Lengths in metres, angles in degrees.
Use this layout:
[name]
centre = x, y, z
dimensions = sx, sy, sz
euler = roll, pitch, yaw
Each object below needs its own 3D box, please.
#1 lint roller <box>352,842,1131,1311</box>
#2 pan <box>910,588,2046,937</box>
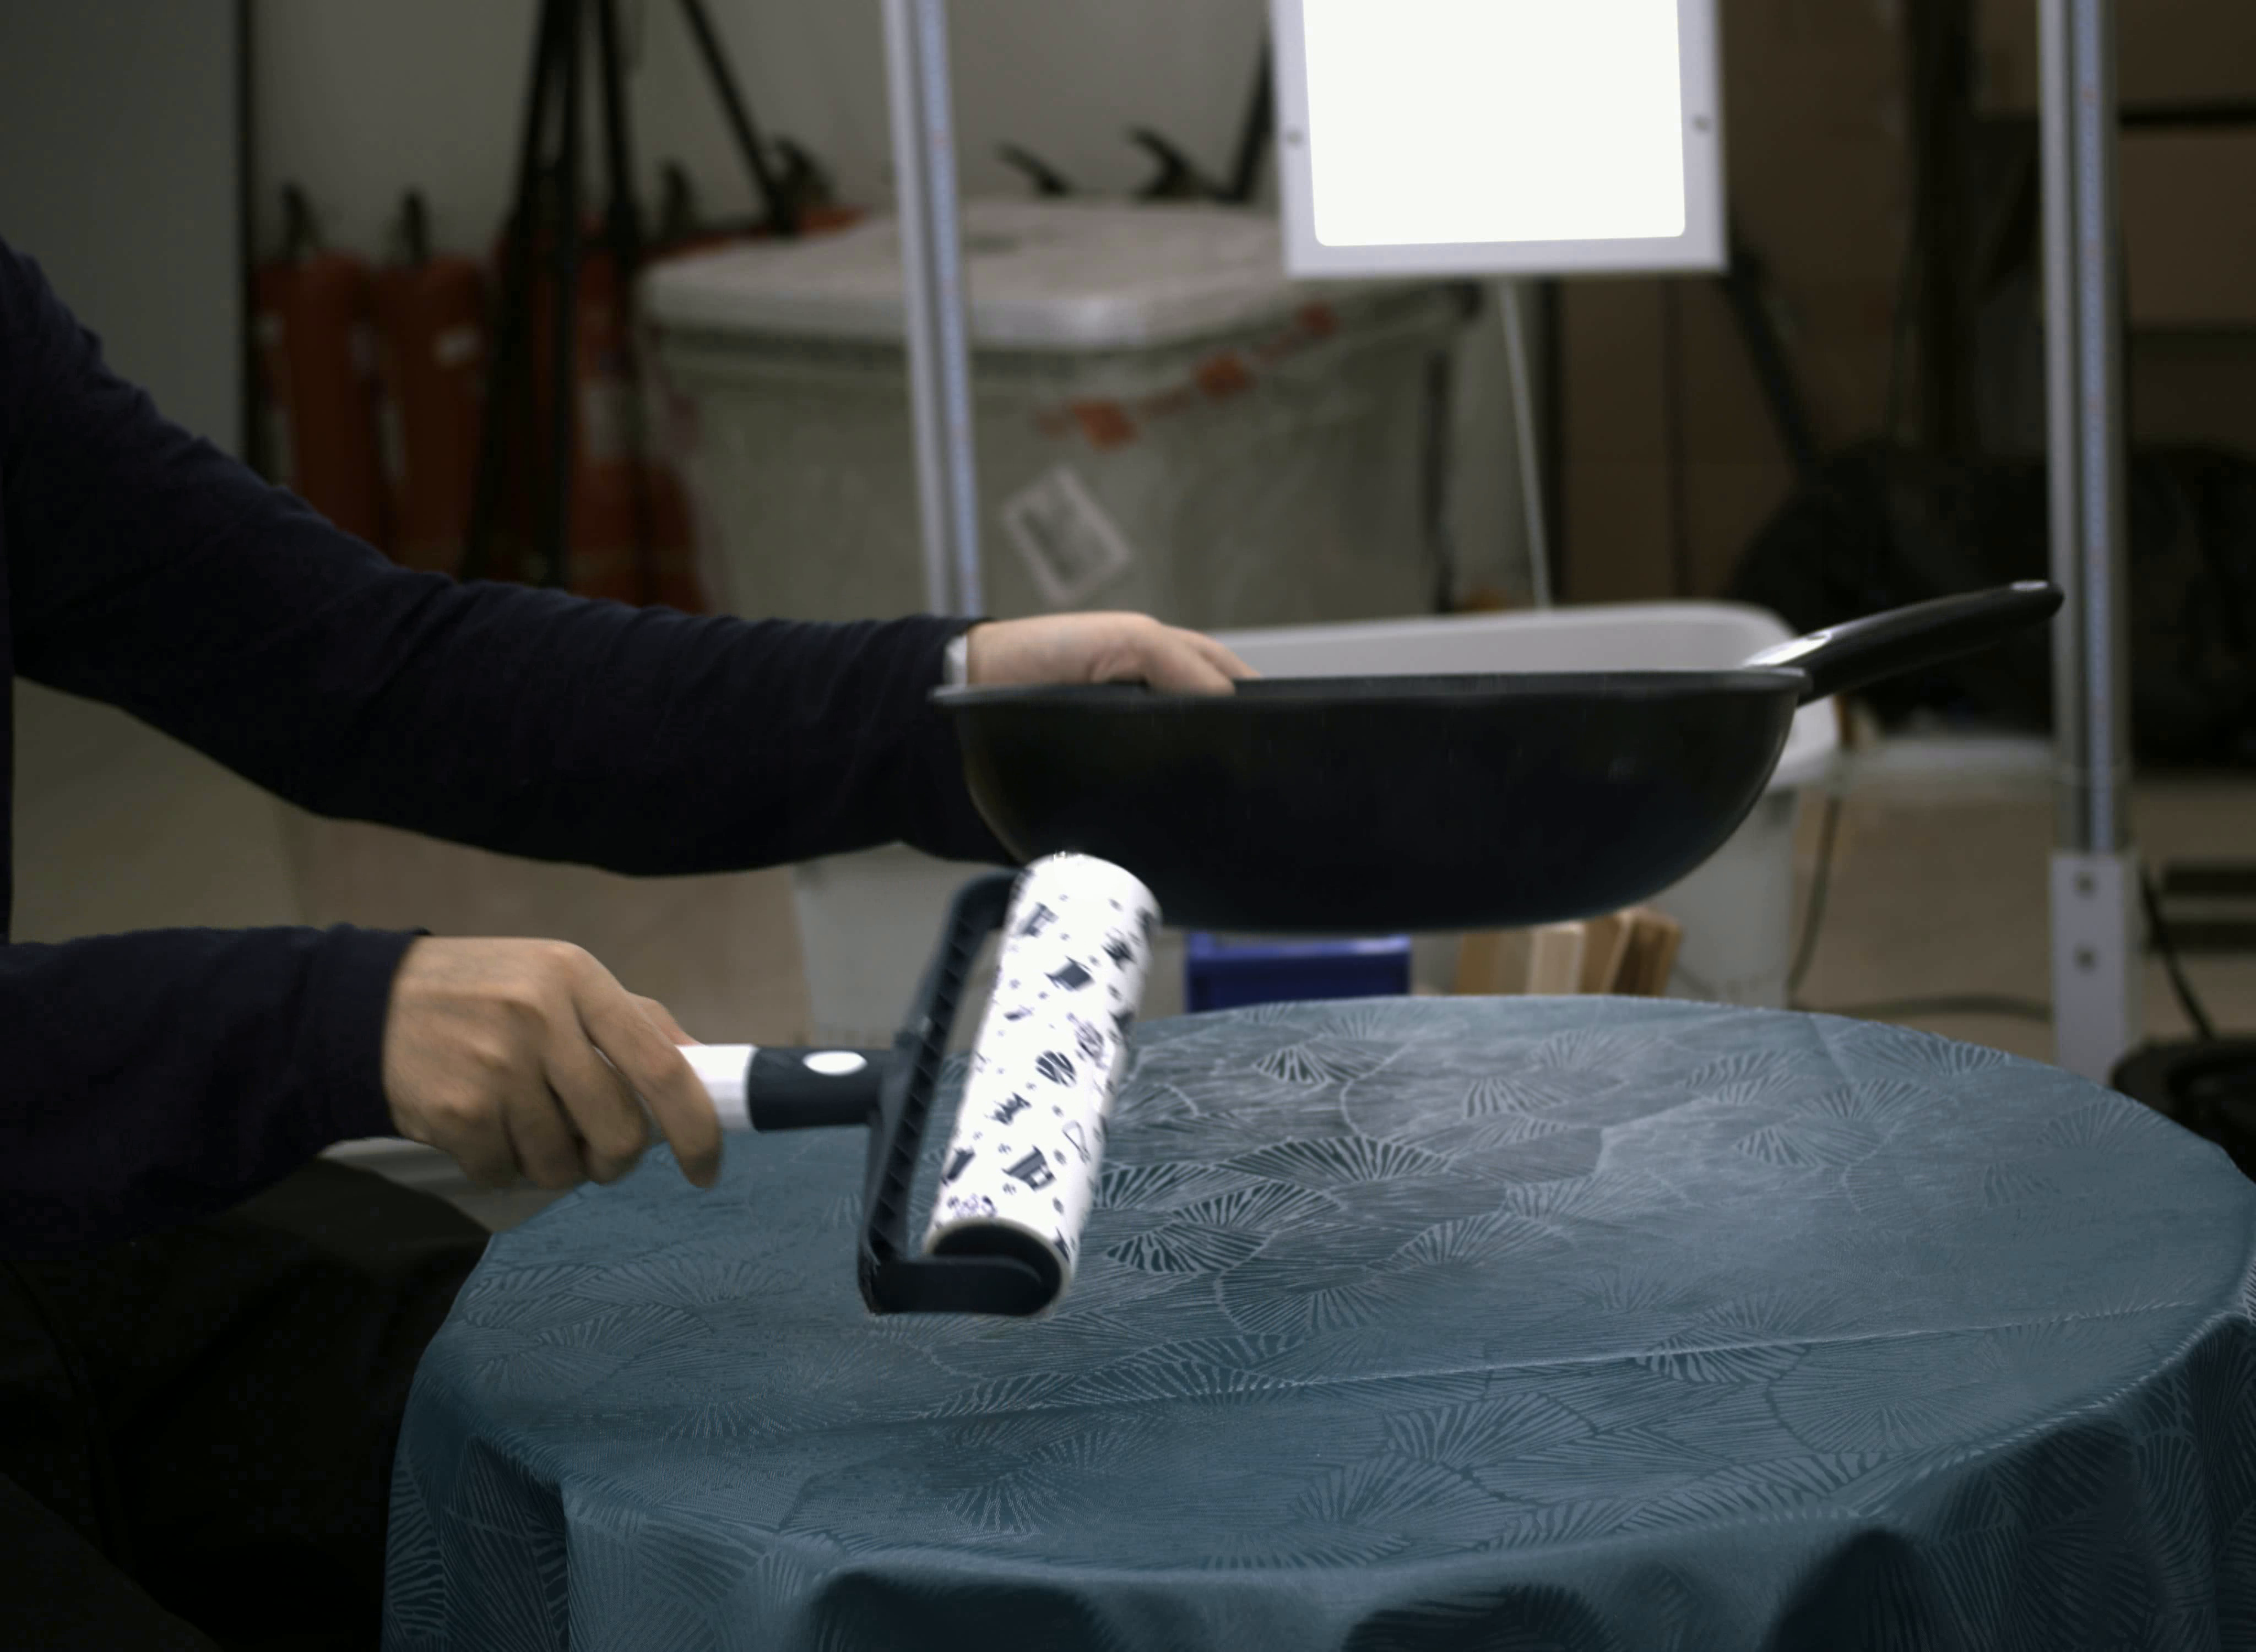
[lint roller]
centre = -0.129, 0.081, 1.732
dimensions = 0.249, 0.050, 0.175
euler = -3, 43, 15
[pan]
centre = 0.149, -0.025, 1.949
dimensions = 0.465, 0.112, 0.316
euler = -3, 4, -32
